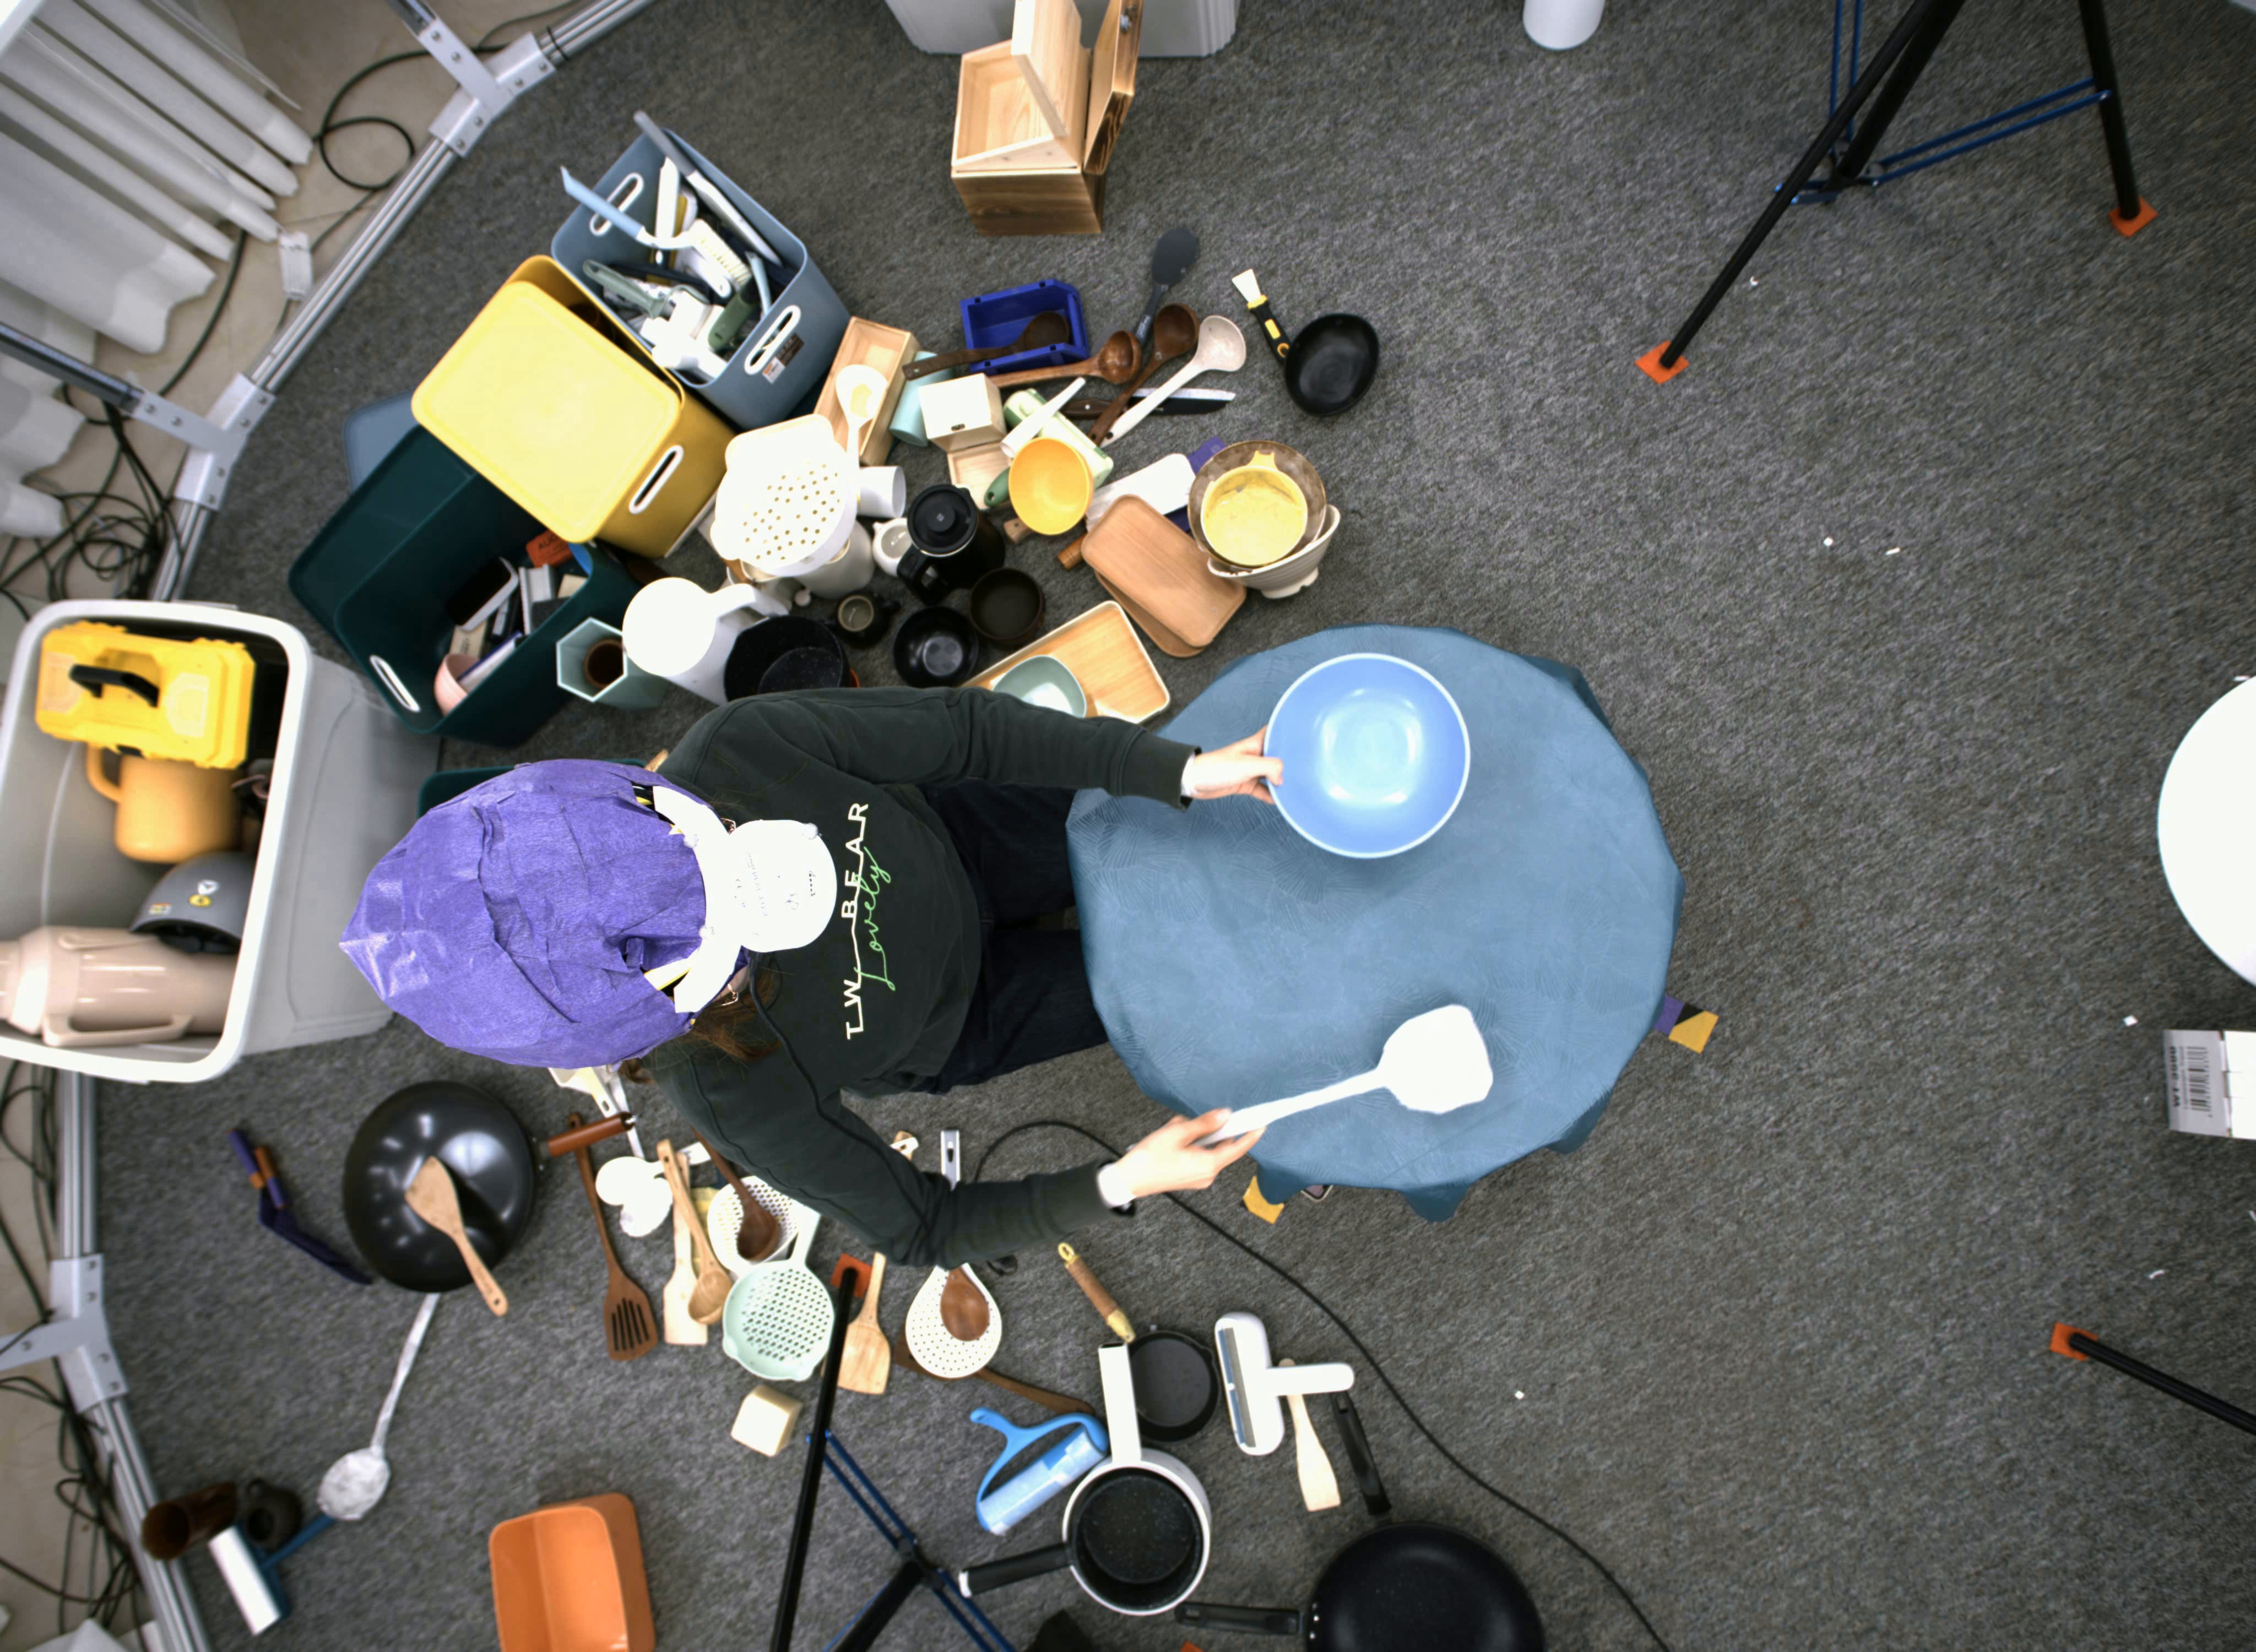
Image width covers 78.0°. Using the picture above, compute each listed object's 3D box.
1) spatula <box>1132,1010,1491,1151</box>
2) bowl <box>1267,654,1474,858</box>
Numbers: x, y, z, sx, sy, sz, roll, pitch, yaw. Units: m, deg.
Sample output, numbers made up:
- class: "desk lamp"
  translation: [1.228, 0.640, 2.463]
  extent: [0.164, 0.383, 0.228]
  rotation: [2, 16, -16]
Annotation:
- class: "spatula"
  translation: [0.183, 0.264, 1.350]
  extent: [0.363, 0.045, 0.098]
  rotation: [-12, 82, -15]
- class: "bowl"
  translation: [0.241, -0.074, 1.357]
  extent: [0.197, 0.094, 0.198]
  rotation: [3, 102, 14]
